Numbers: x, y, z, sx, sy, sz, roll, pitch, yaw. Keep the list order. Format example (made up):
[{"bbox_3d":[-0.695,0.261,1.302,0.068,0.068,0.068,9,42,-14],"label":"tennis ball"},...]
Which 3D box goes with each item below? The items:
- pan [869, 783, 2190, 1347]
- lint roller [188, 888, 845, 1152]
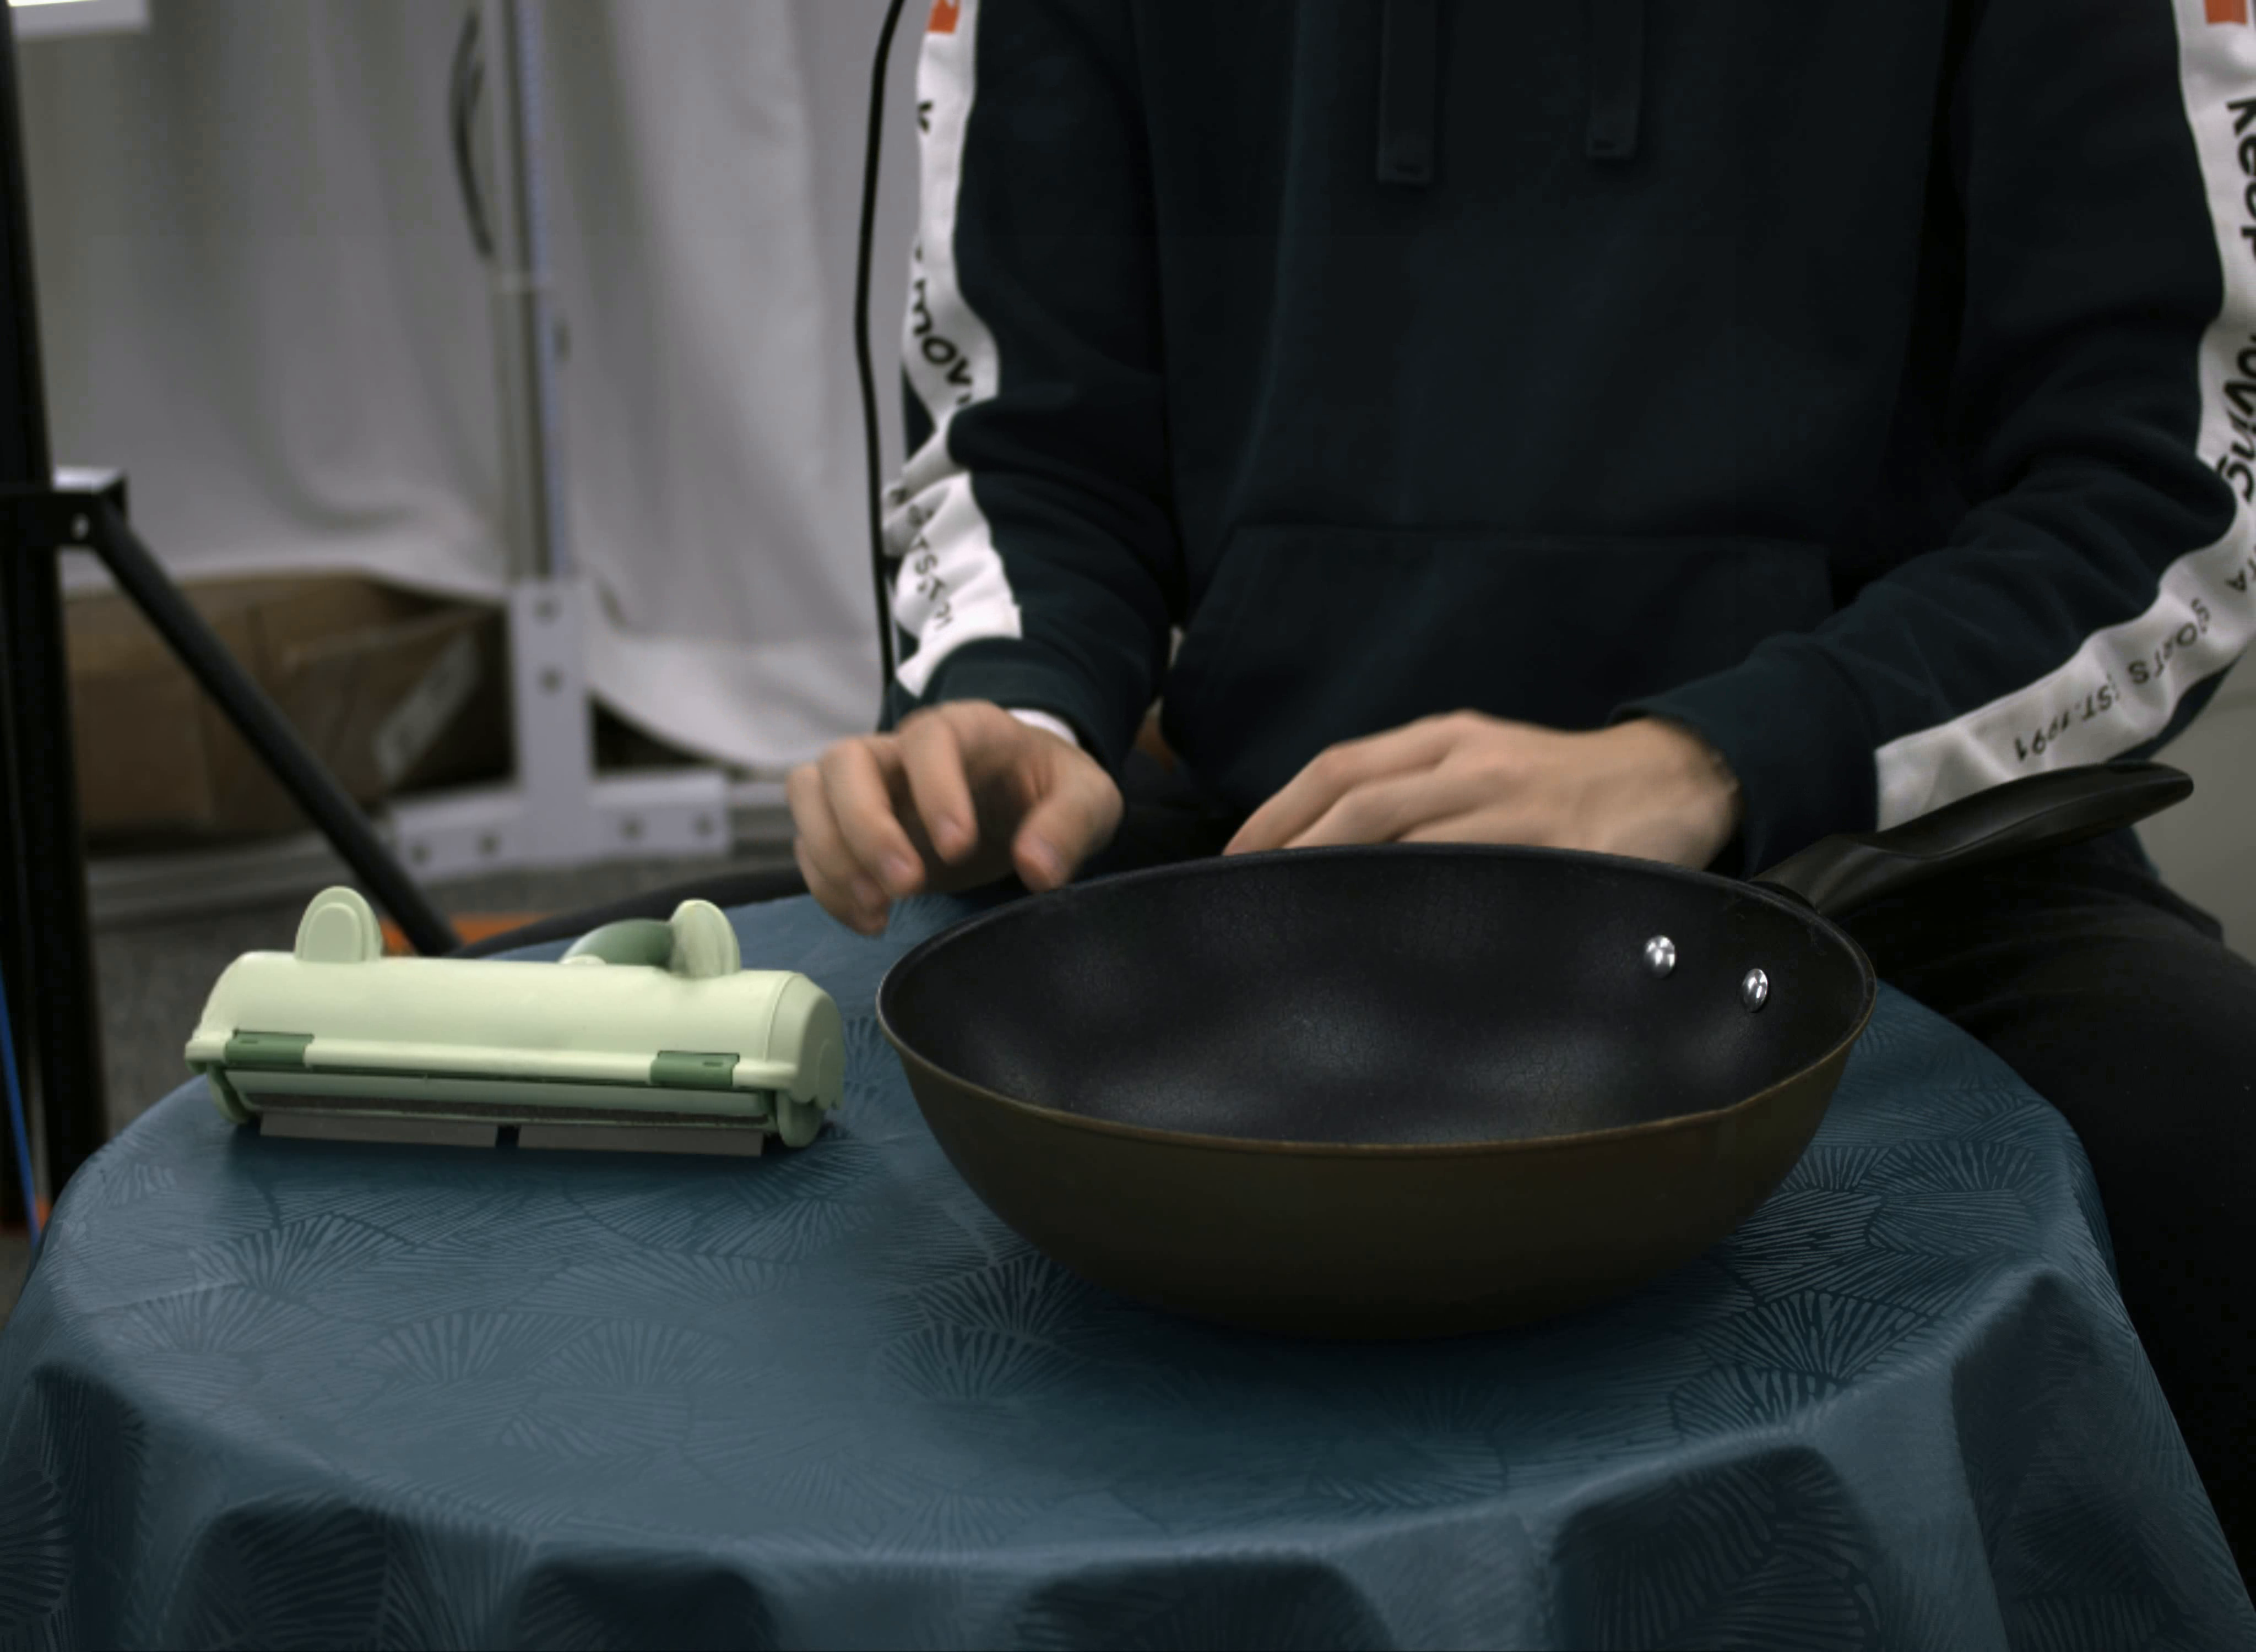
[{"bbox_3d":[0.140,0.064,1.539,0.452,0.087,0.295,-13,19,-35],"label":"pan"},{"bbox_3d":[-0.174,0.043,1.682,0.200,0.082,0.182,1,21,15],"label":"lint roller"}]
